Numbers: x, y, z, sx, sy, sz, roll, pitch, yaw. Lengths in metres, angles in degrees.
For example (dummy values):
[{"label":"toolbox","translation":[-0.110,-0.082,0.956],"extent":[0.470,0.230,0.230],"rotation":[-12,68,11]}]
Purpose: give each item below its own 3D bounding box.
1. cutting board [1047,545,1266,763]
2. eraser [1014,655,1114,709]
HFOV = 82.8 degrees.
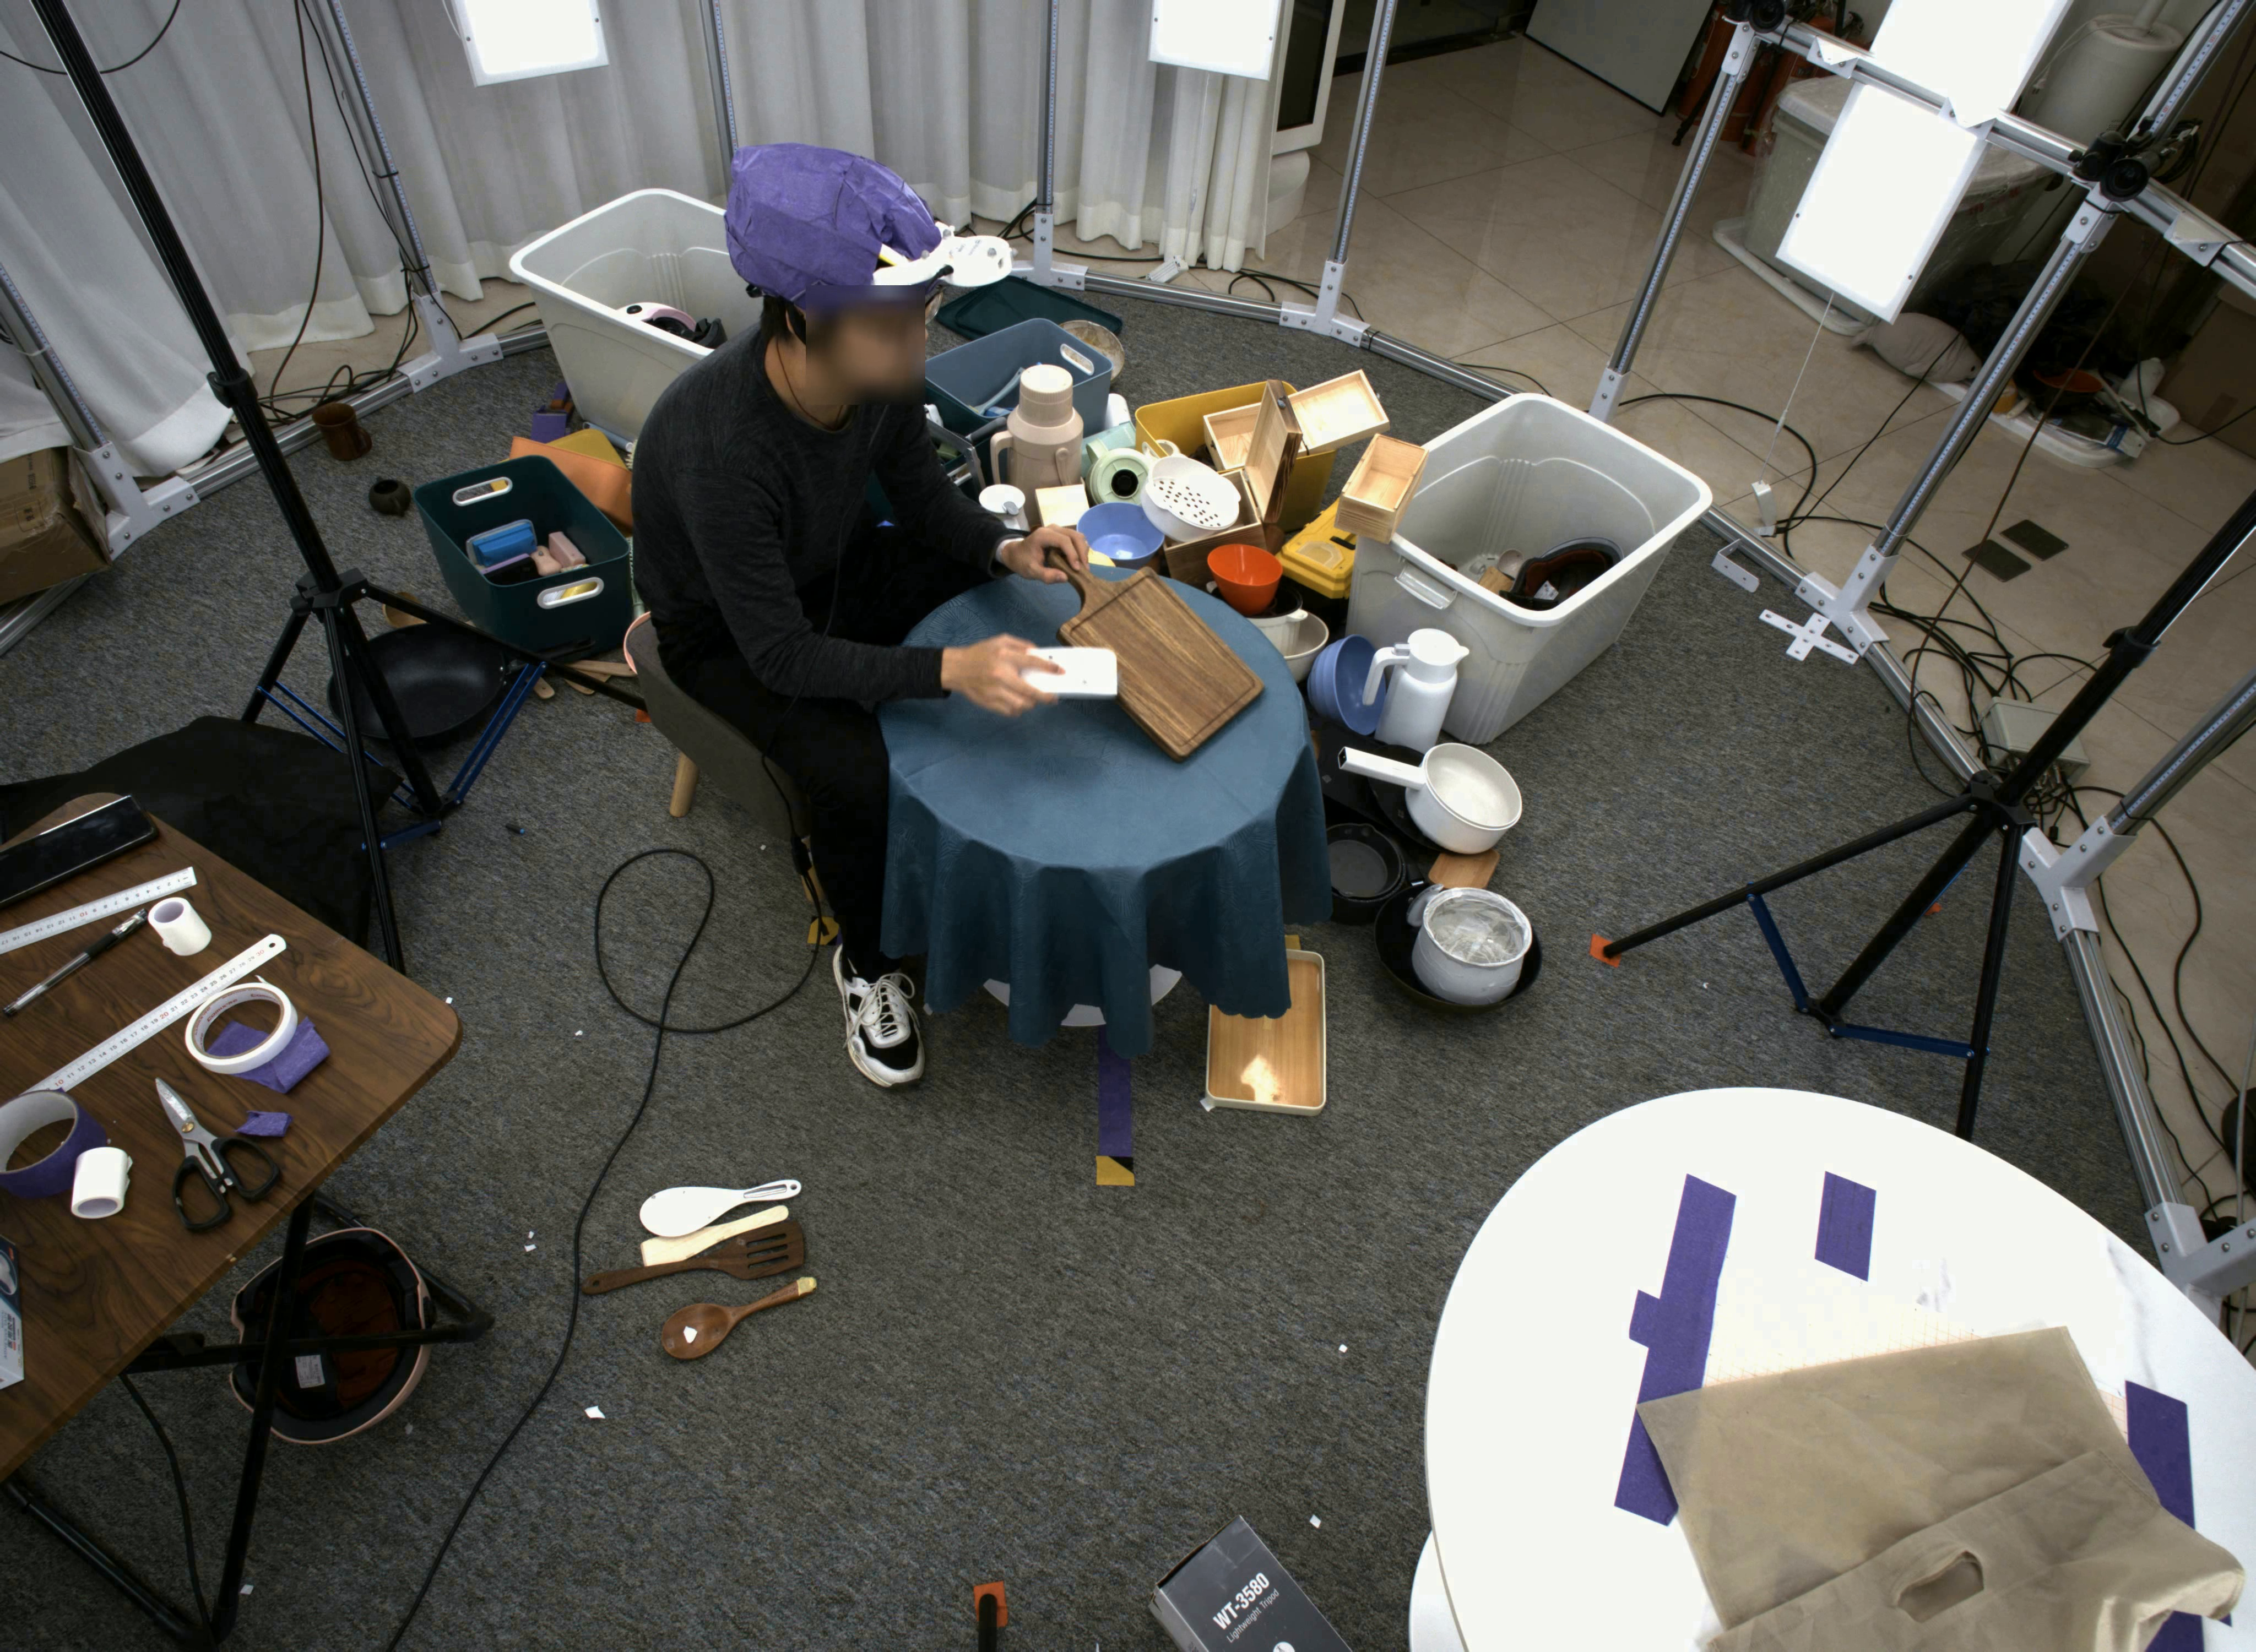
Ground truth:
[{"label":"cutting board","translation":[0.016,-0.267,1.813],"extent":[0.354,0.023,0.203],"rotation":[46,58,7]},{"label":"eraser","translation":[-0.085,-0.191,1.704],"extent":[0.131,0.034,0.064],"rotation":[4,65,-1]}]
